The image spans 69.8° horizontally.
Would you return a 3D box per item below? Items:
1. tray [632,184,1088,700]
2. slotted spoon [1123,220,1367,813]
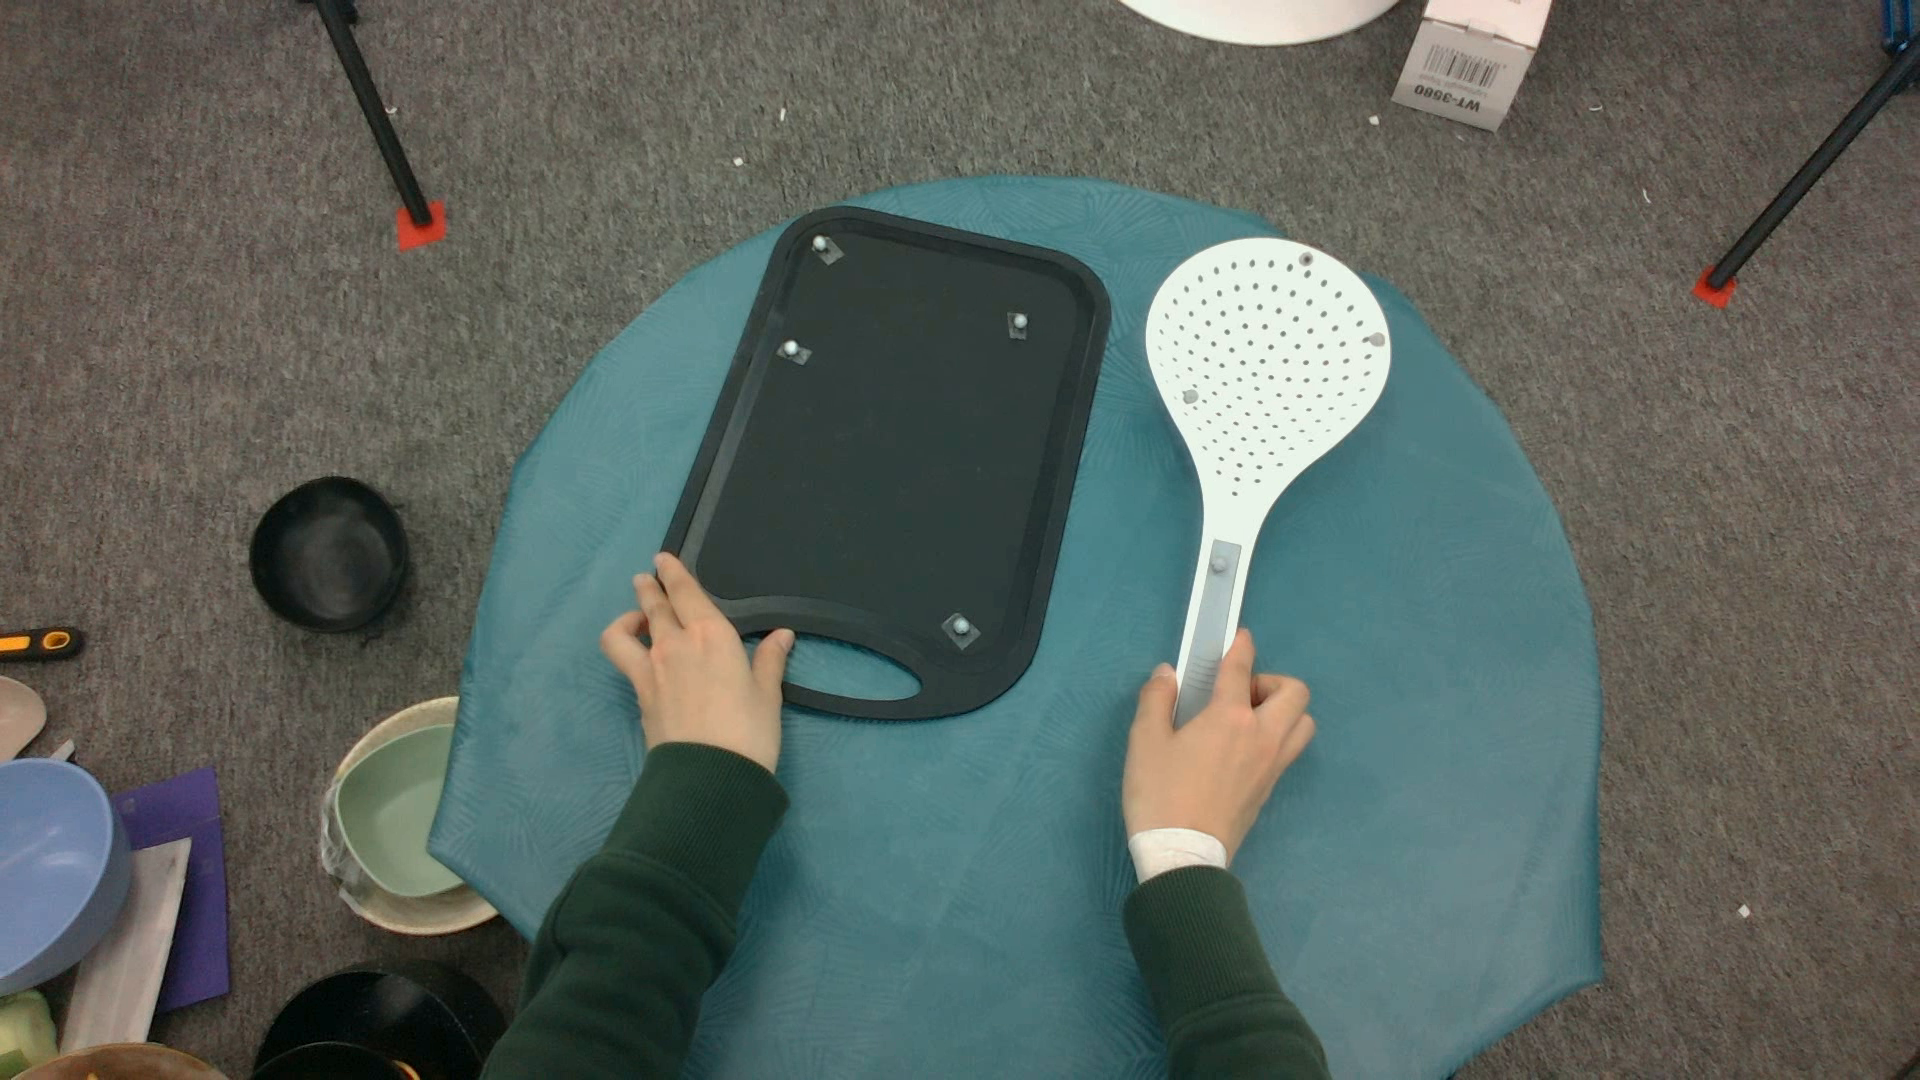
[{"bbox_3d":[-0.050,-0.065,0.776,0.211,0.010,0.327,13,64,2],"label":"tray"},{"bbox_3d":[0.137,-0.024,0.748,0.136,0.045,0.351,13,64,6],"label":"slotted spoon"}]
